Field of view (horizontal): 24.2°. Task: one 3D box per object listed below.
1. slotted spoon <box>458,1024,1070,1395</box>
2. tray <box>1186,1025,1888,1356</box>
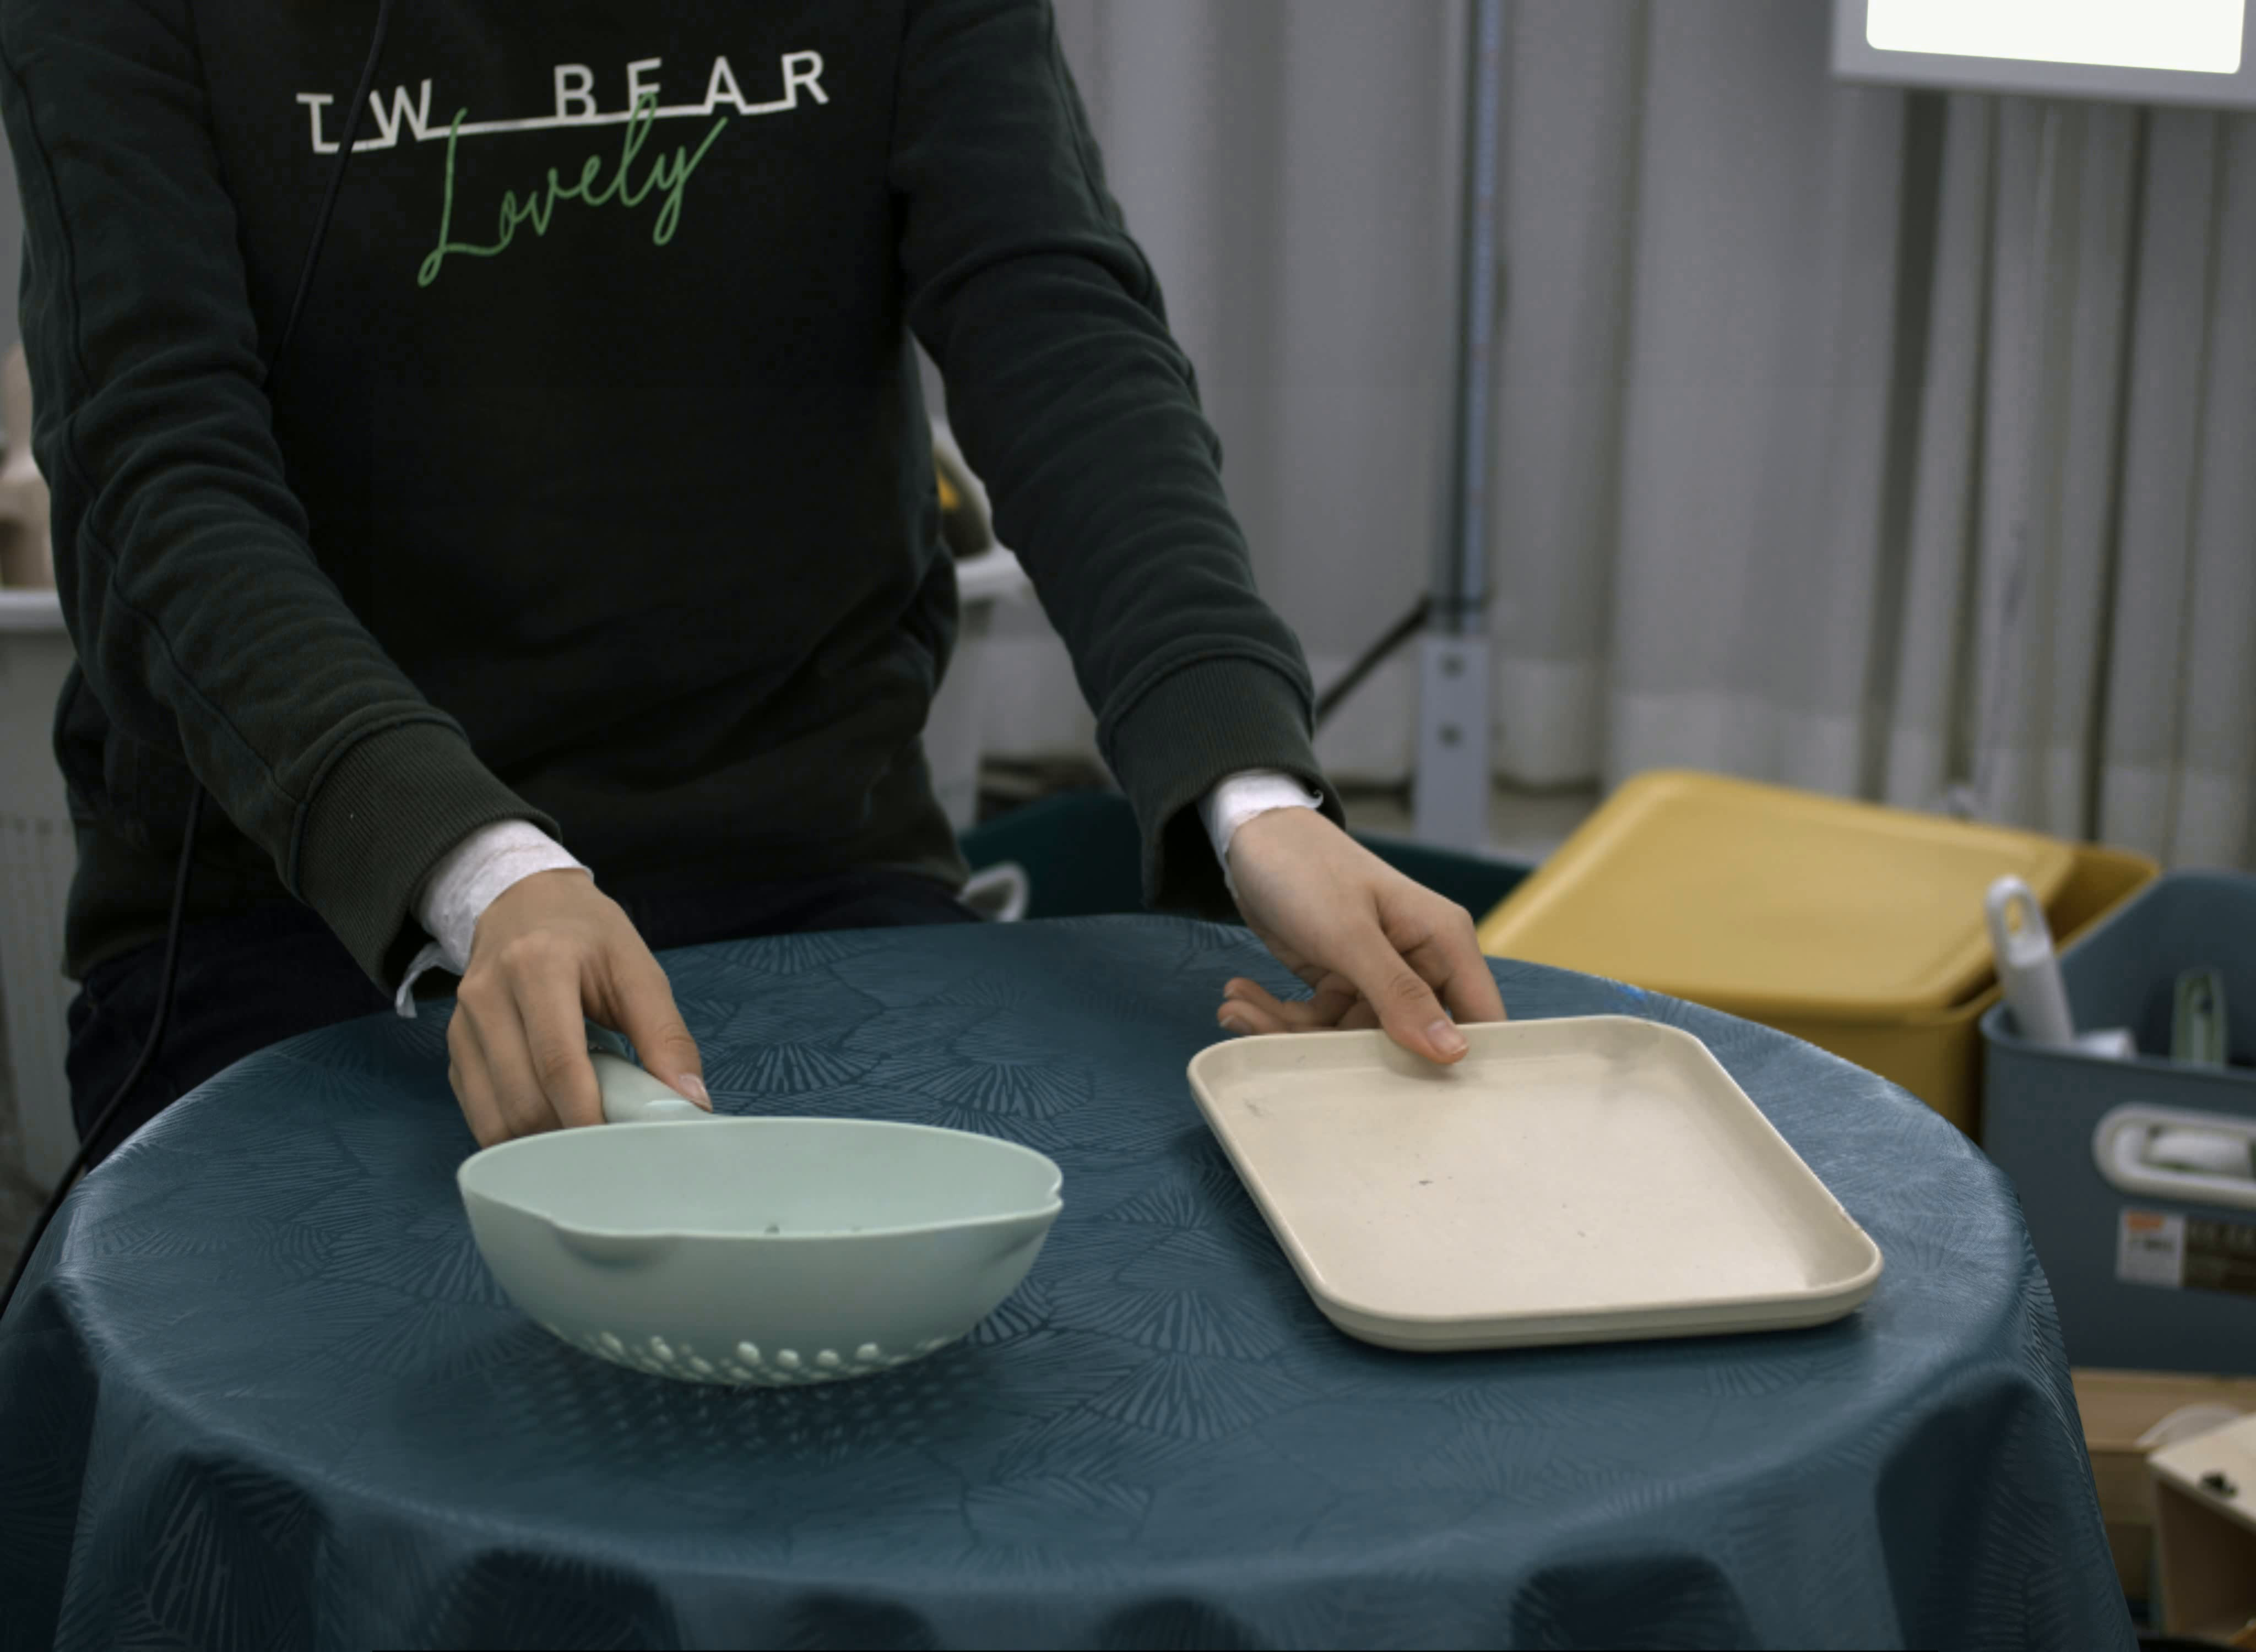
[{"bbox_3d":[-0.132,0.097,1.555,0.170,0.076,0.355,0,16,-19],"label":"slotted spoon"},{"bbox_3d":[0.119,0.109,1.601,0.171,0.017,0.237,-3,17,-11],"label":"tray"}]
